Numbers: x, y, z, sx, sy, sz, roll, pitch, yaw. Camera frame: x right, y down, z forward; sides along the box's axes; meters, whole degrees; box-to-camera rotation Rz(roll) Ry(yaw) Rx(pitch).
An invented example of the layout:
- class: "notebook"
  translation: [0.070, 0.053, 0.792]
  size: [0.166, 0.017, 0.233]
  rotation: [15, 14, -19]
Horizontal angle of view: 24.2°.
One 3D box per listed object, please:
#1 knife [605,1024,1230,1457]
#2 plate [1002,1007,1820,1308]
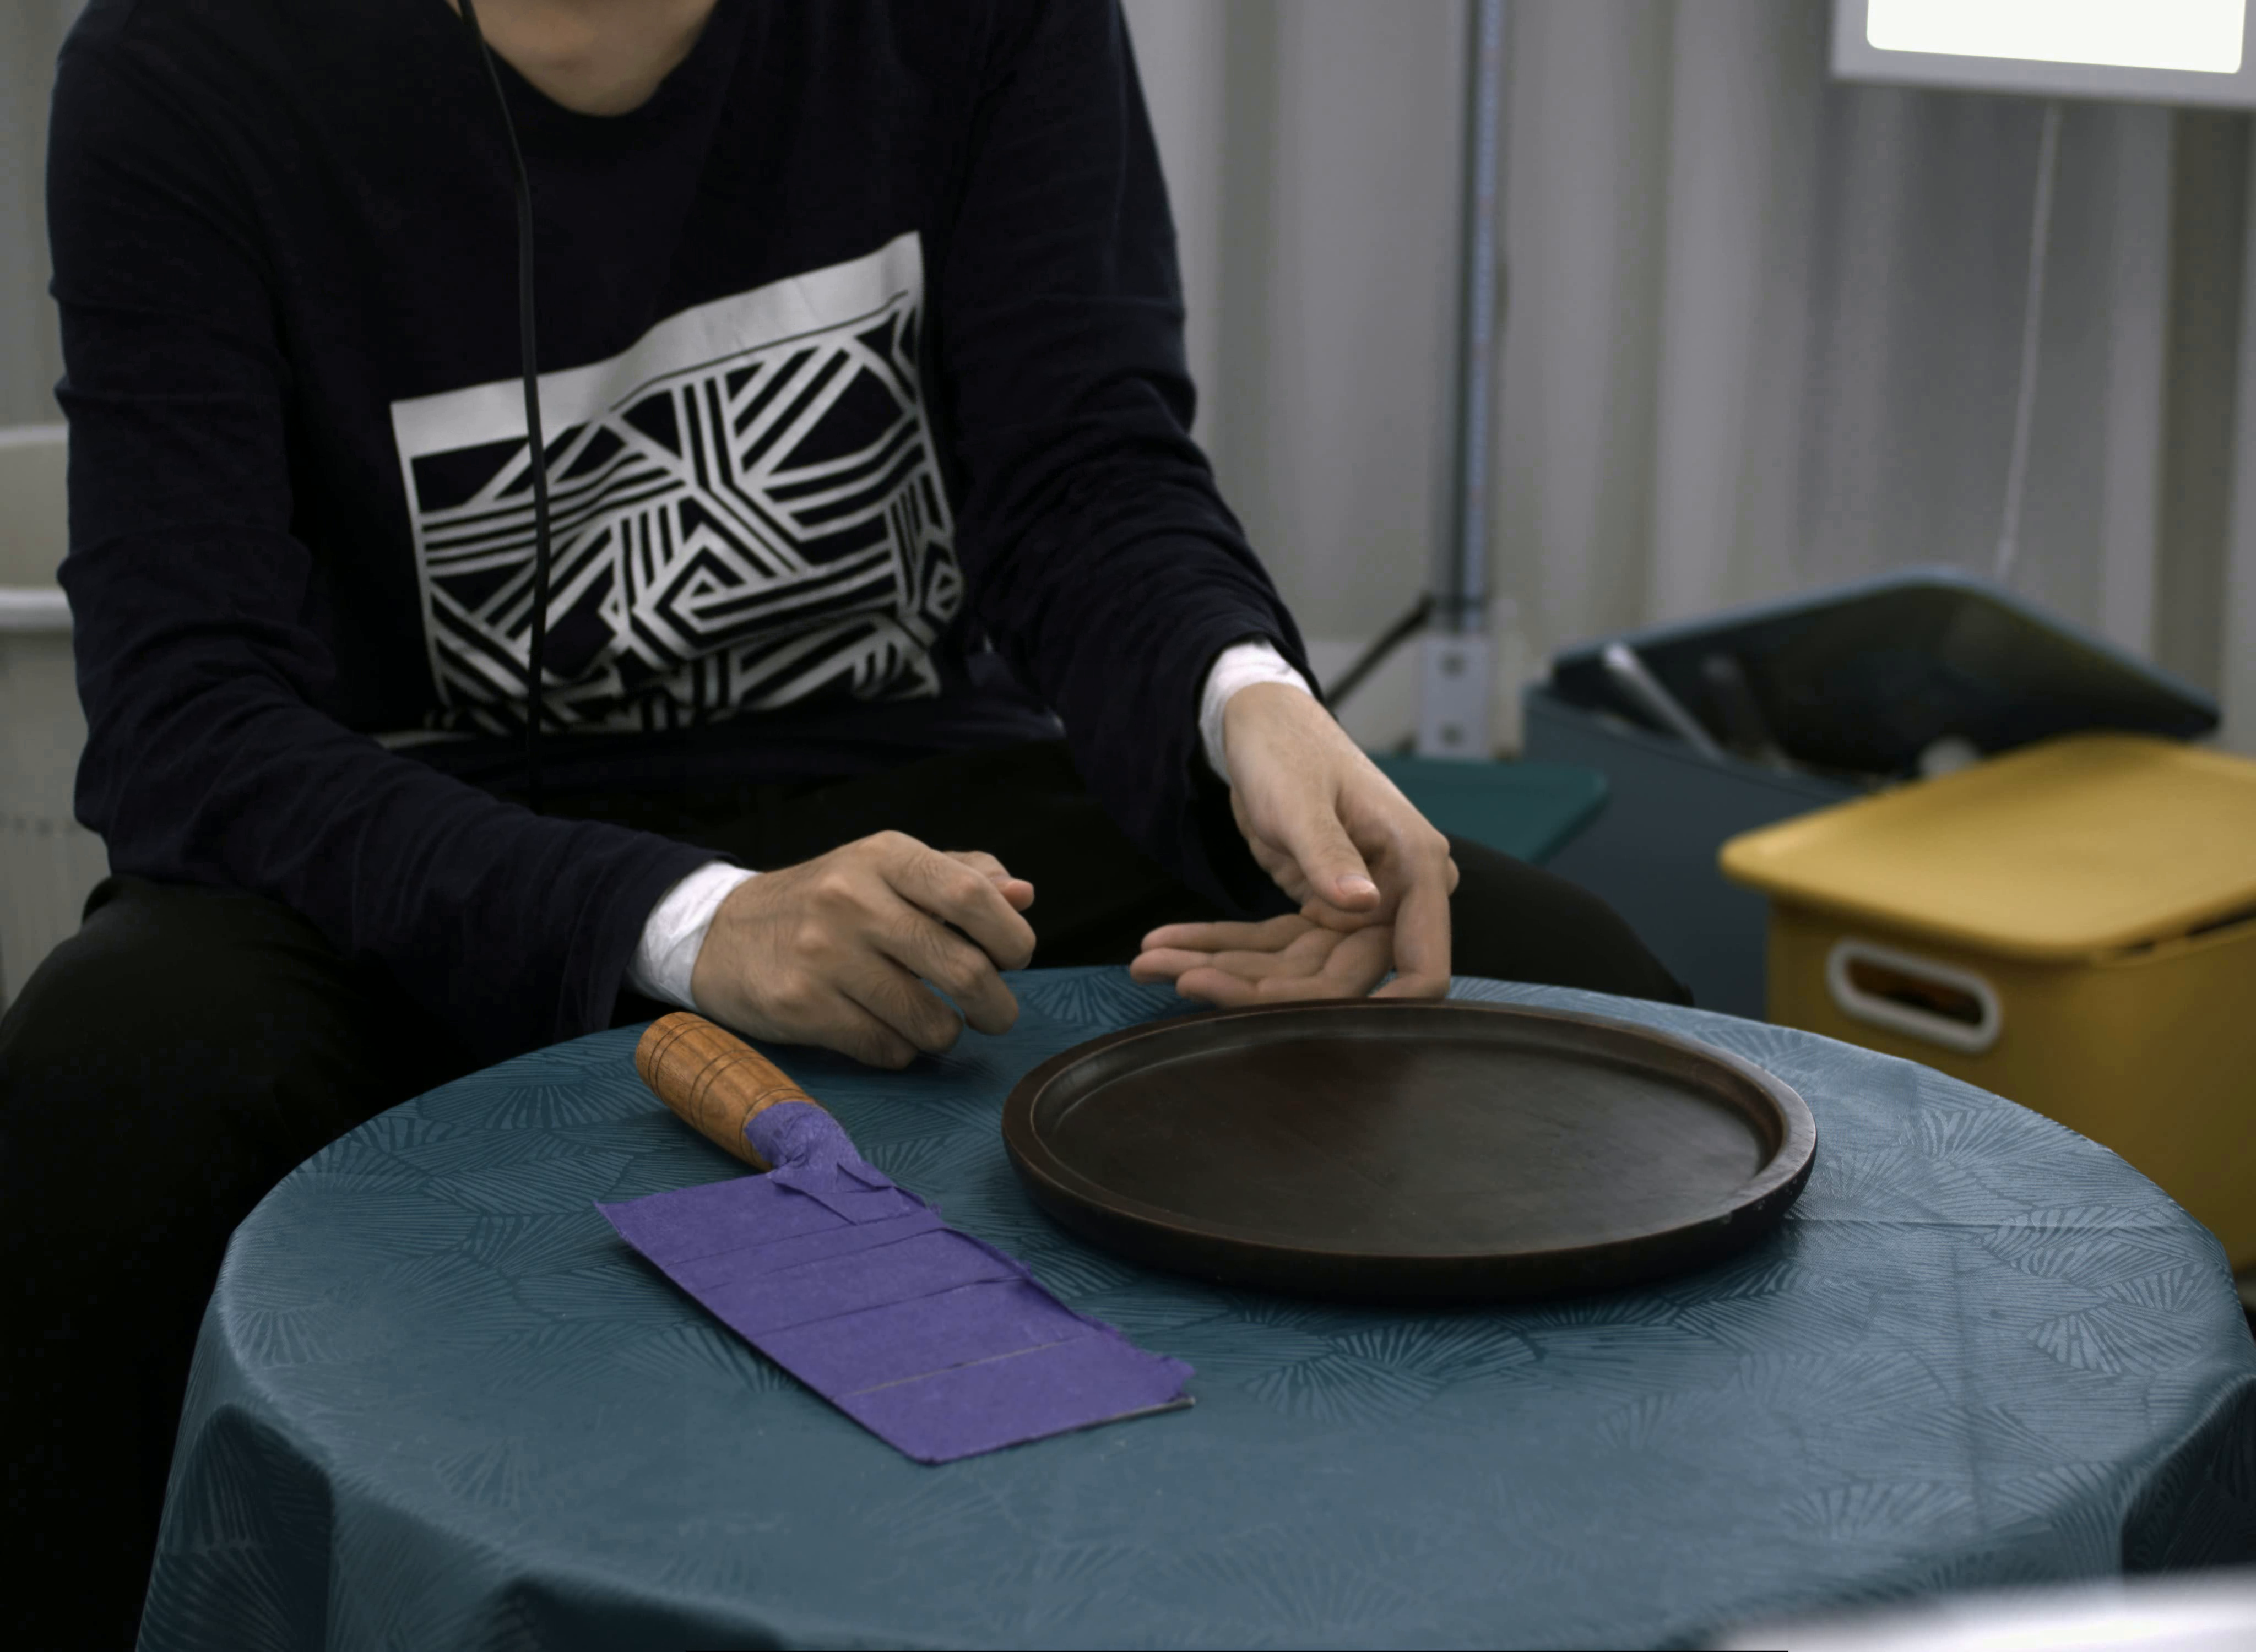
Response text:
- class: "knife"
  translation: [-0.094, 0.118, 1.551]
  size: [0.104, 0.032, 0.311]
  rotation: [-9, 18, -31]
- class: "plate"
  translation: [0.087, 0.099, 1.631]
  size: [0.254, 0.029, 0.253]
  rotation: [2, 16, 0]
